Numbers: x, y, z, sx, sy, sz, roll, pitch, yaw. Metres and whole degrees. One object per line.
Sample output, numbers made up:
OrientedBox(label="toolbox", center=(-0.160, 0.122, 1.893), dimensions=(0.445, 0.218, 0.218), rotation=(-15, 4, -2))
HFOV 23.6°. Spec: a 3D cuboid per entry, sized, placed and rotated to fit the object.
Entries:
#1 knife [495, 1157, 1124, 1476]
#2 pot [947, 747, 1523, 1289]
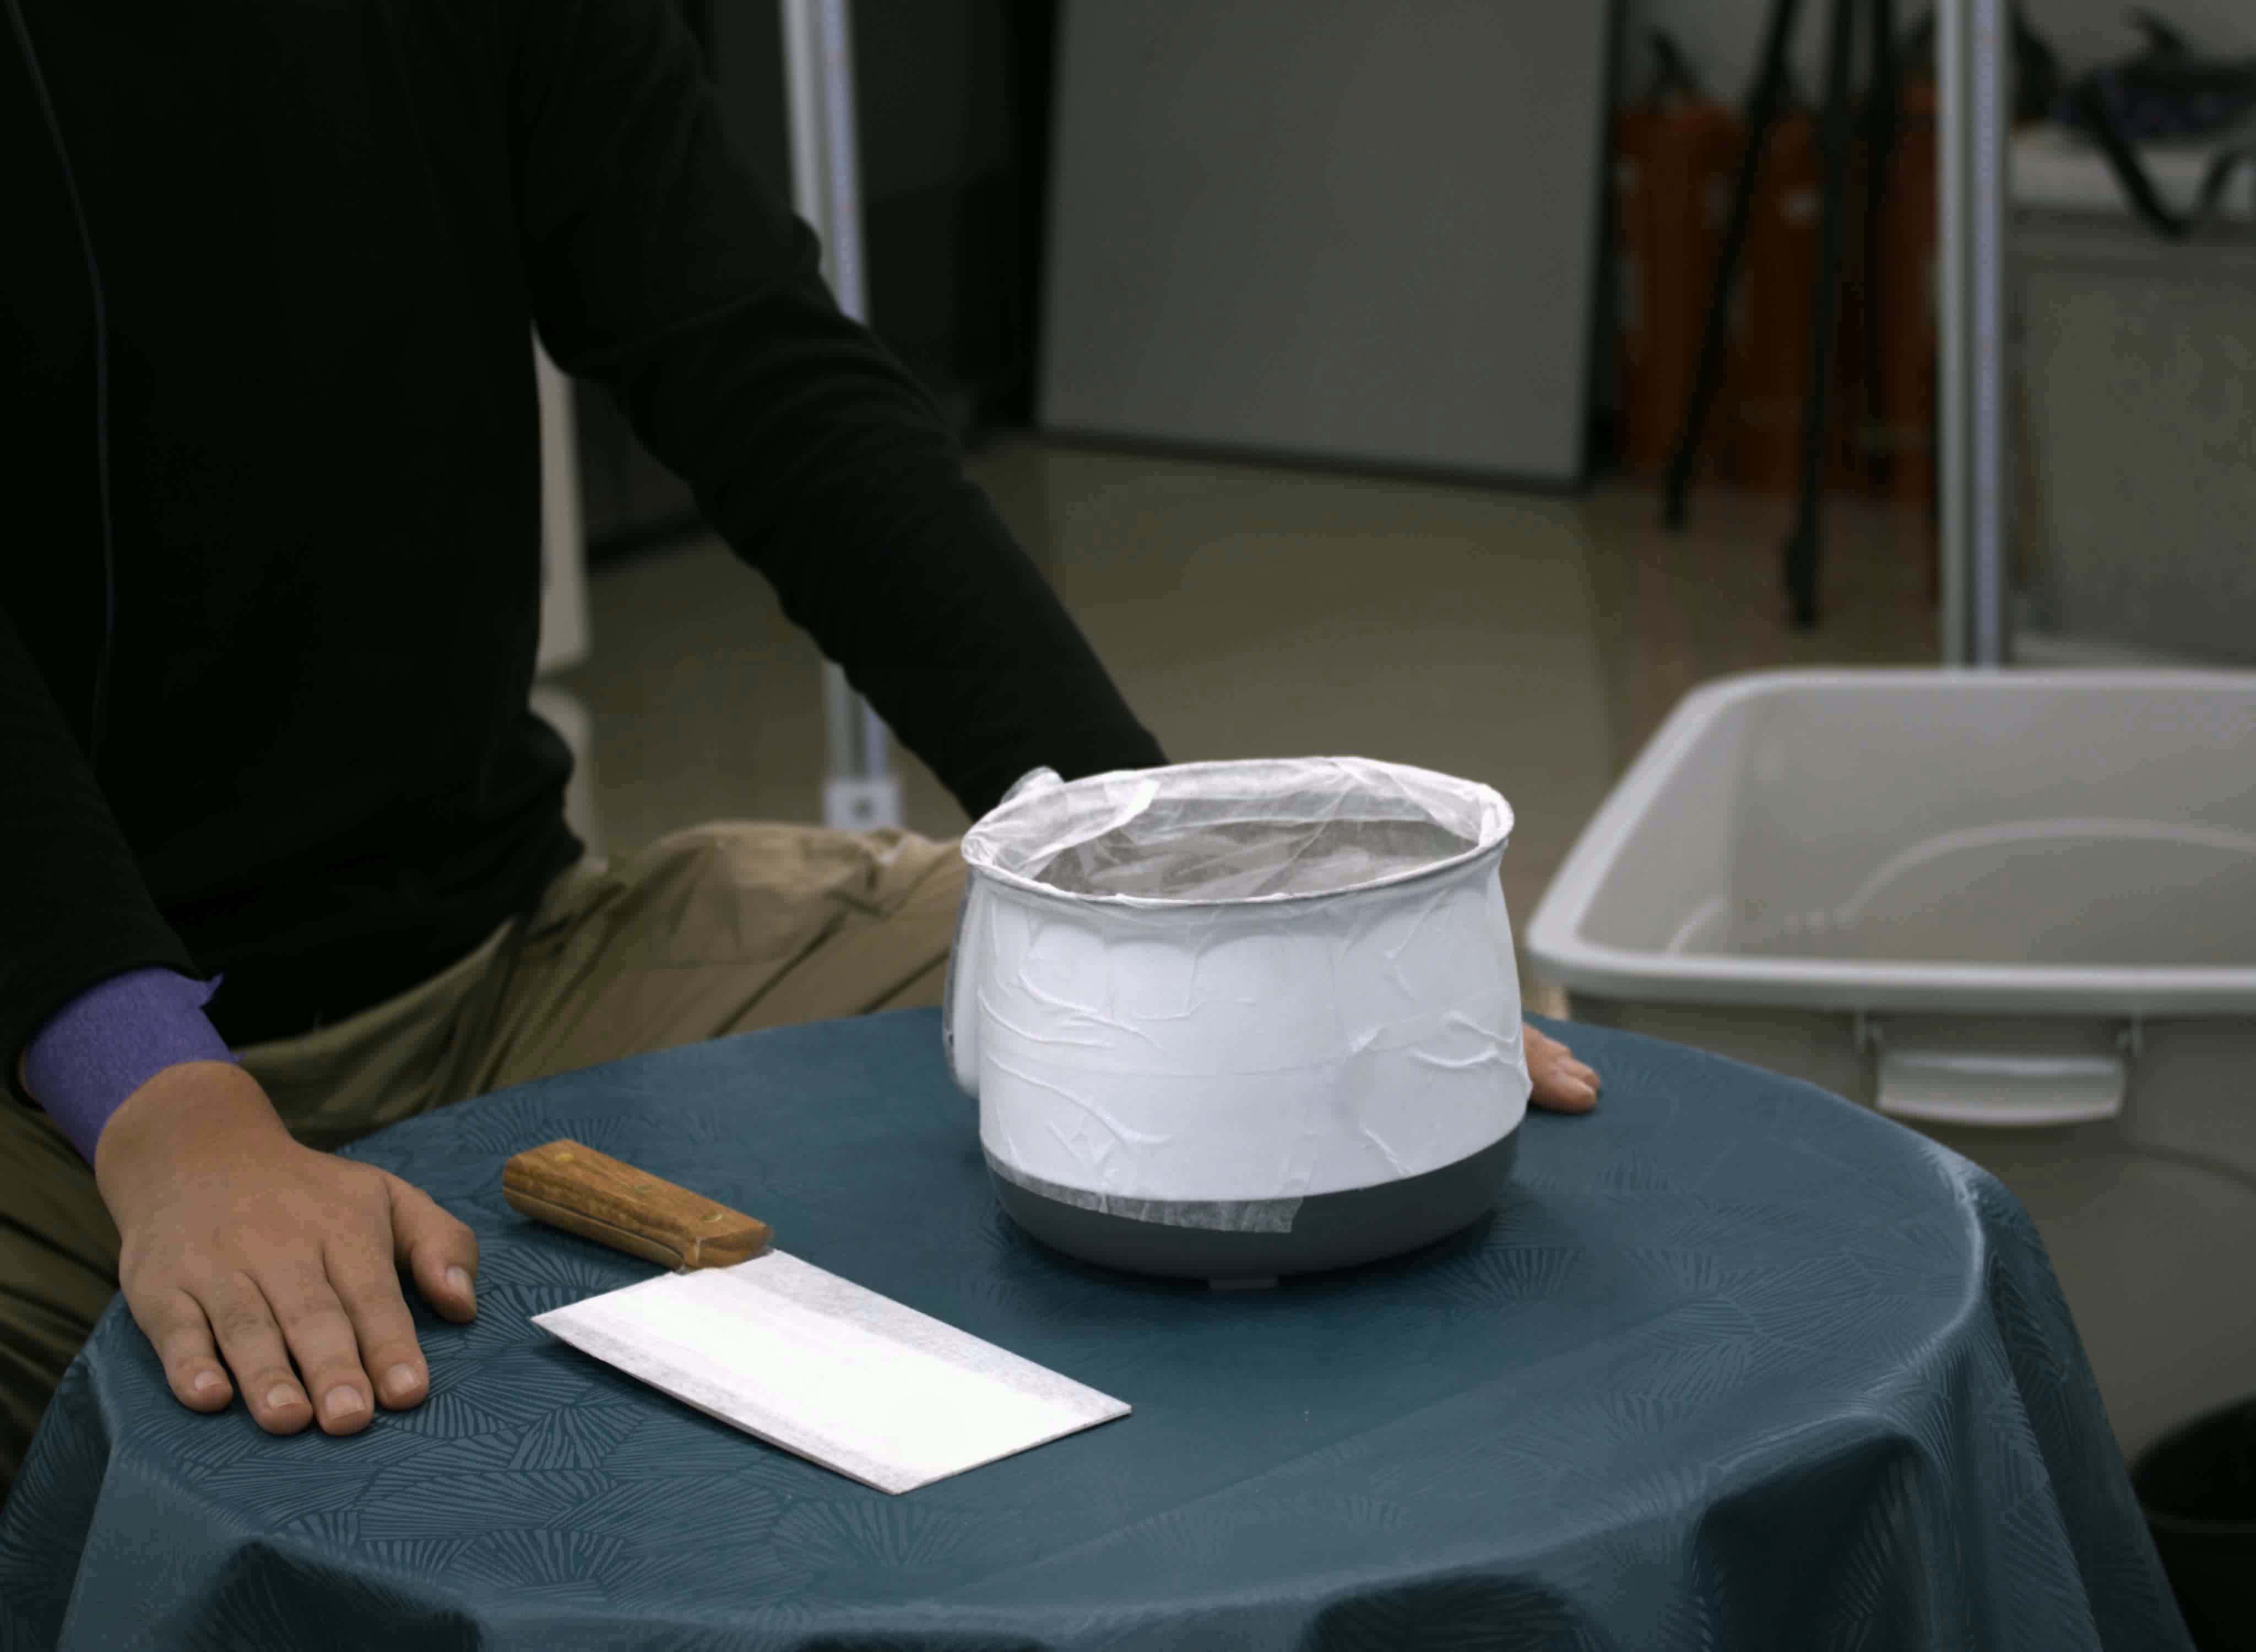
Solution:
OrientedBox(label="knife", center=(-0.124, 0.152, 1.662), dimensions=(0.091, 0.021, 0.309), rotation=(-14, 19, -35))
OrientedBox(label="pot", center=(0.020, 0.055, 1.741), dimensions=(0.175, 0.138, 0.236), rotation=(-14, 18, -38))
